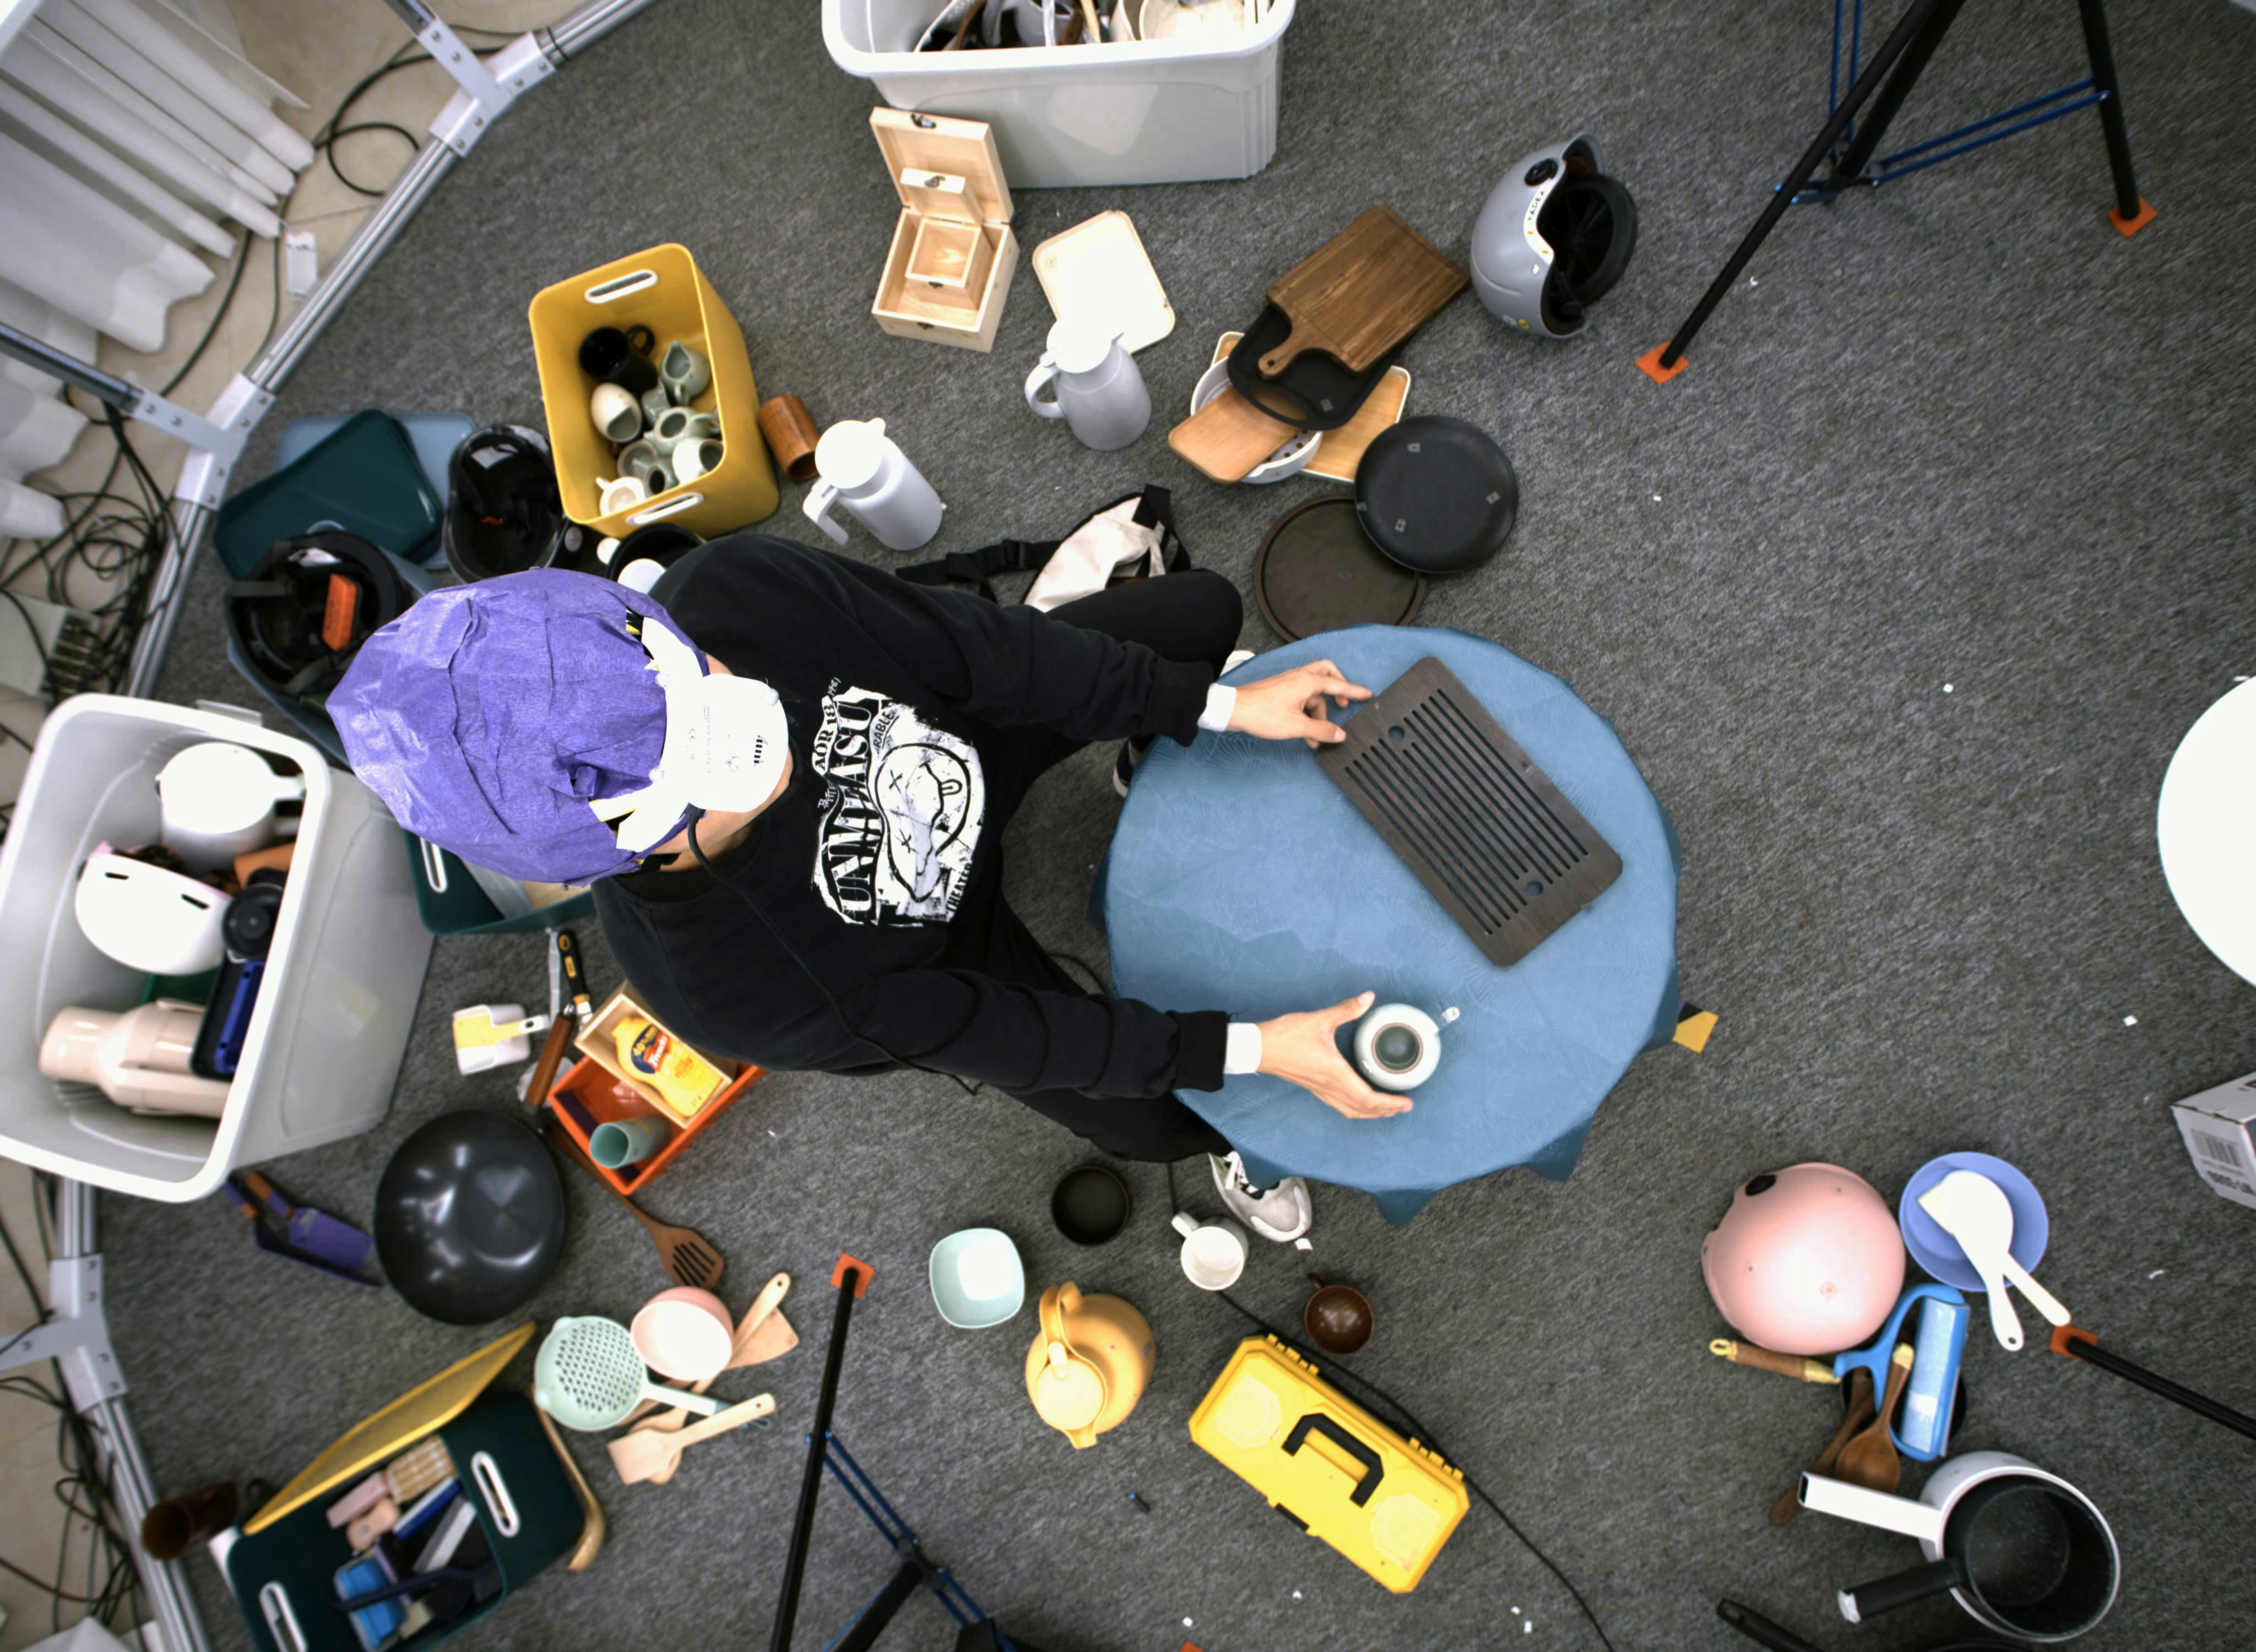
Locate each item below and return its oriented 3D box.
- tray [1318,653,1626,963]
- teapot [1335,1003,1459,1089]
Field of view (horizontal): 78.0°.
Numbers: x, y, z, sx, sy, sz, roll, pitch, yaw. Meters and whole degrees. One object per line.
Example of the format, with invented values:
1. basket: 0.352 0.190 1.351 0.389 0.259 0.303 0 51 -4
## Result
1. tray: 0.357 -0.022 1.440 0.171 0.018 0.304 -41 81 6
2. teapot: 0.274 0.223 1.416 0.144 0.075 0.088 -31 81 6
